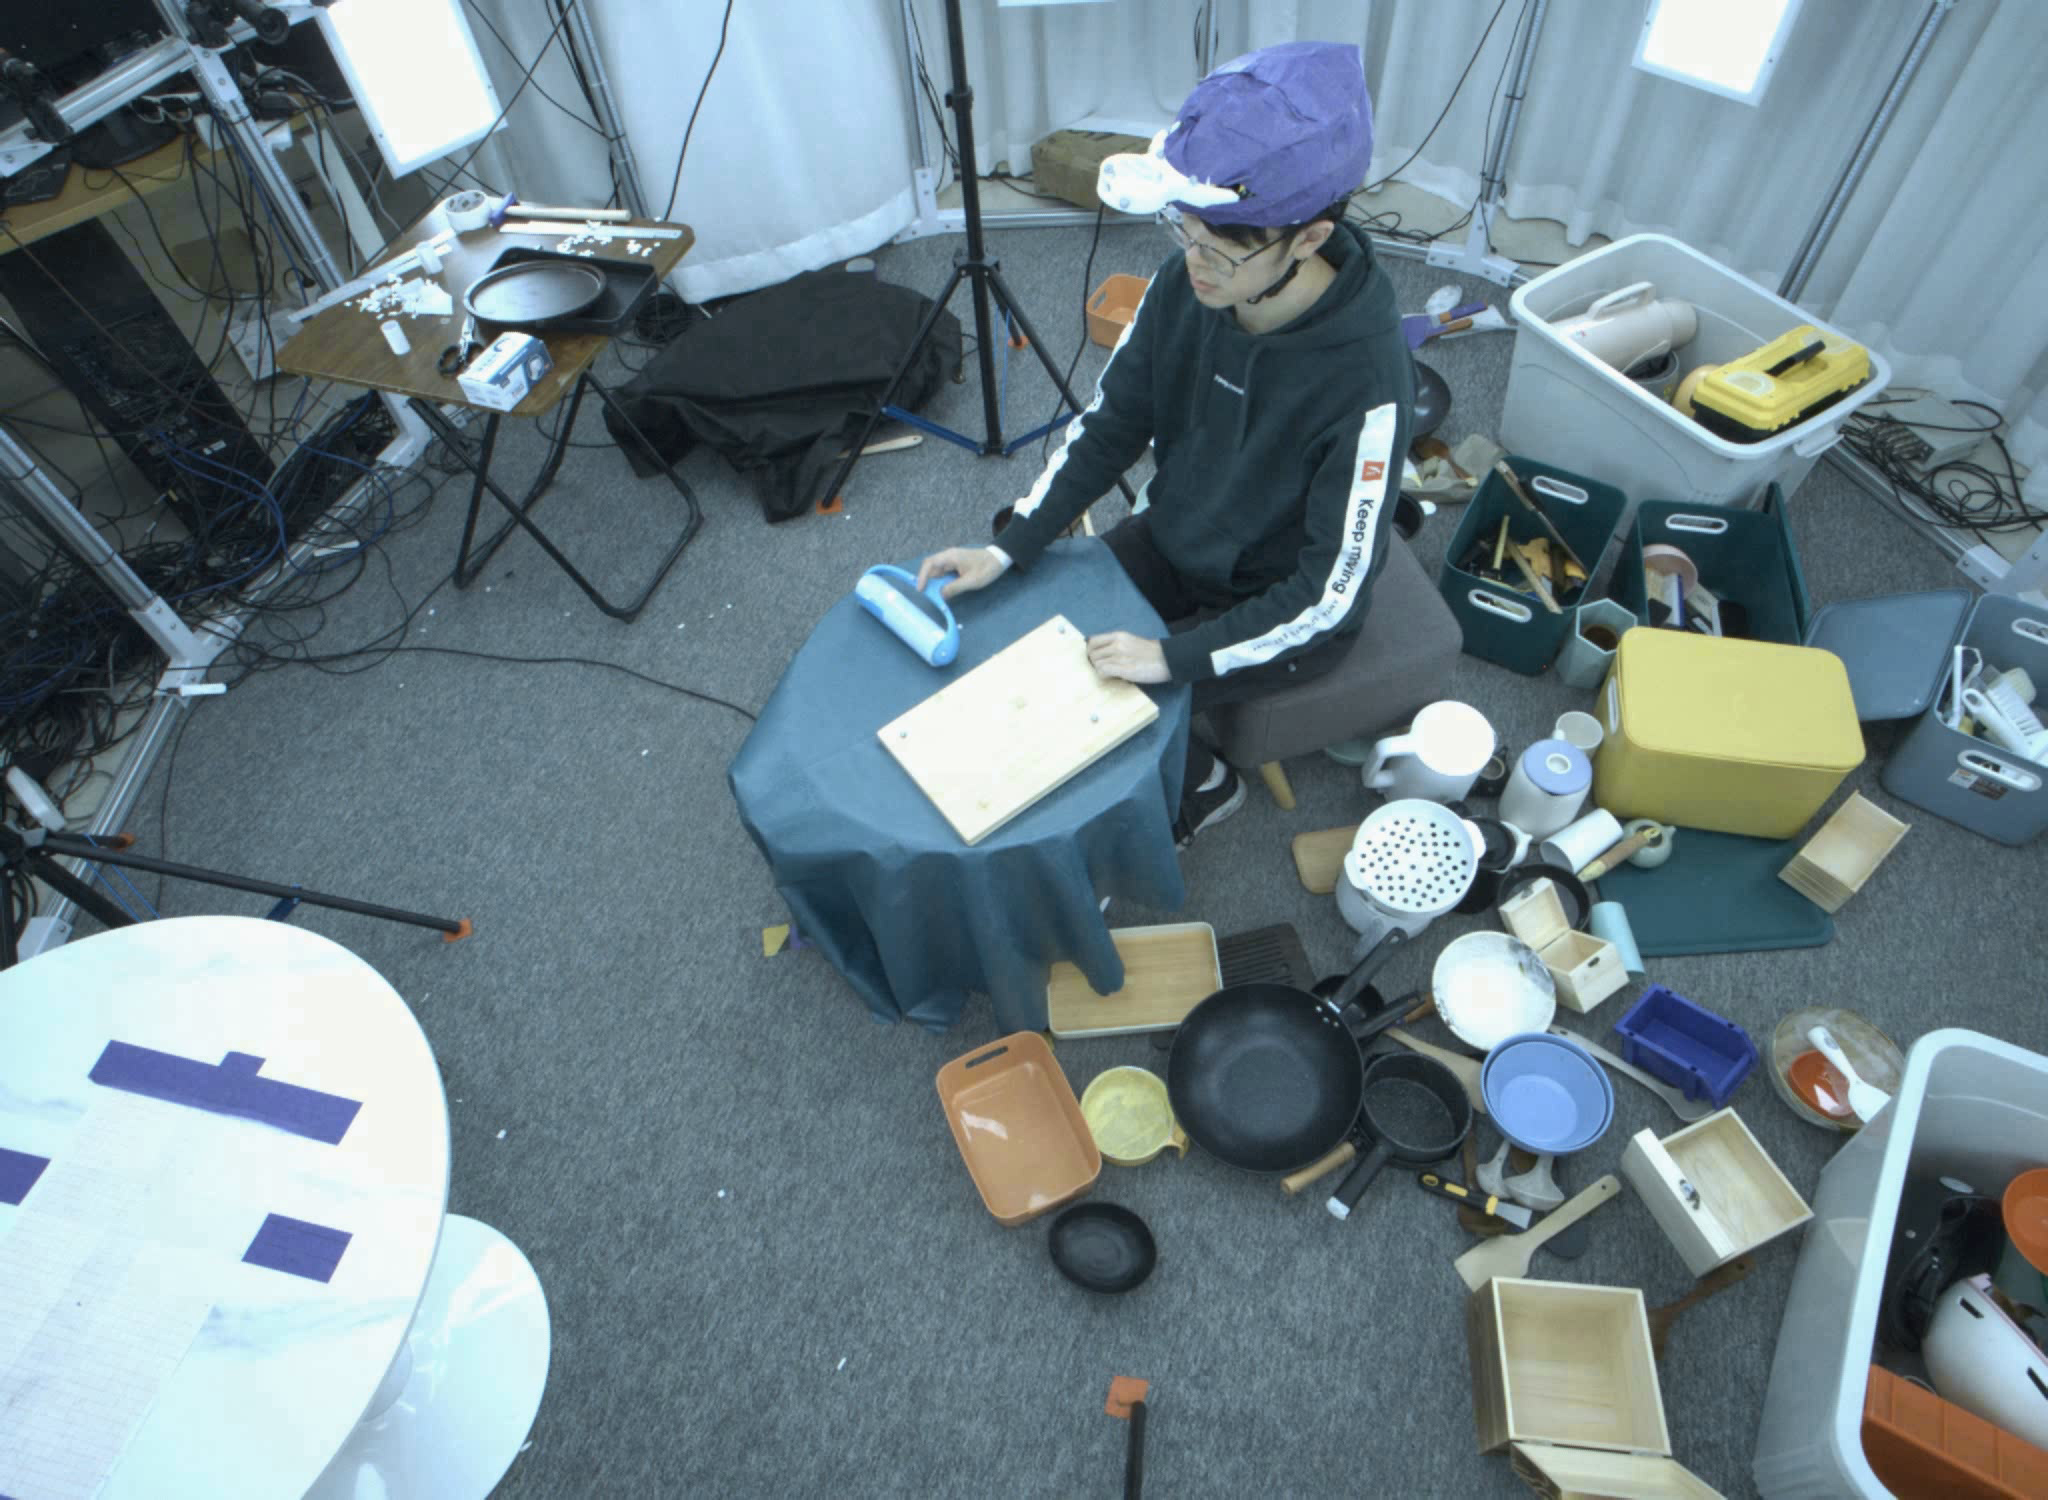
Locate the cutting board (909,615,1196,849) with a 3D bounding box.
[{"bbox_3d":[0.036,-0.035,1.781,0.351,0.024,0.246,-34,60,-15],"label":"cutting board"}]

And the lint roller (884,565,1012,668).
[{"bbox_3d":[-0.097,-0.238,1.915,0.181,0.069,0.224,-39,60,-20],"label":"lint roller"}]
